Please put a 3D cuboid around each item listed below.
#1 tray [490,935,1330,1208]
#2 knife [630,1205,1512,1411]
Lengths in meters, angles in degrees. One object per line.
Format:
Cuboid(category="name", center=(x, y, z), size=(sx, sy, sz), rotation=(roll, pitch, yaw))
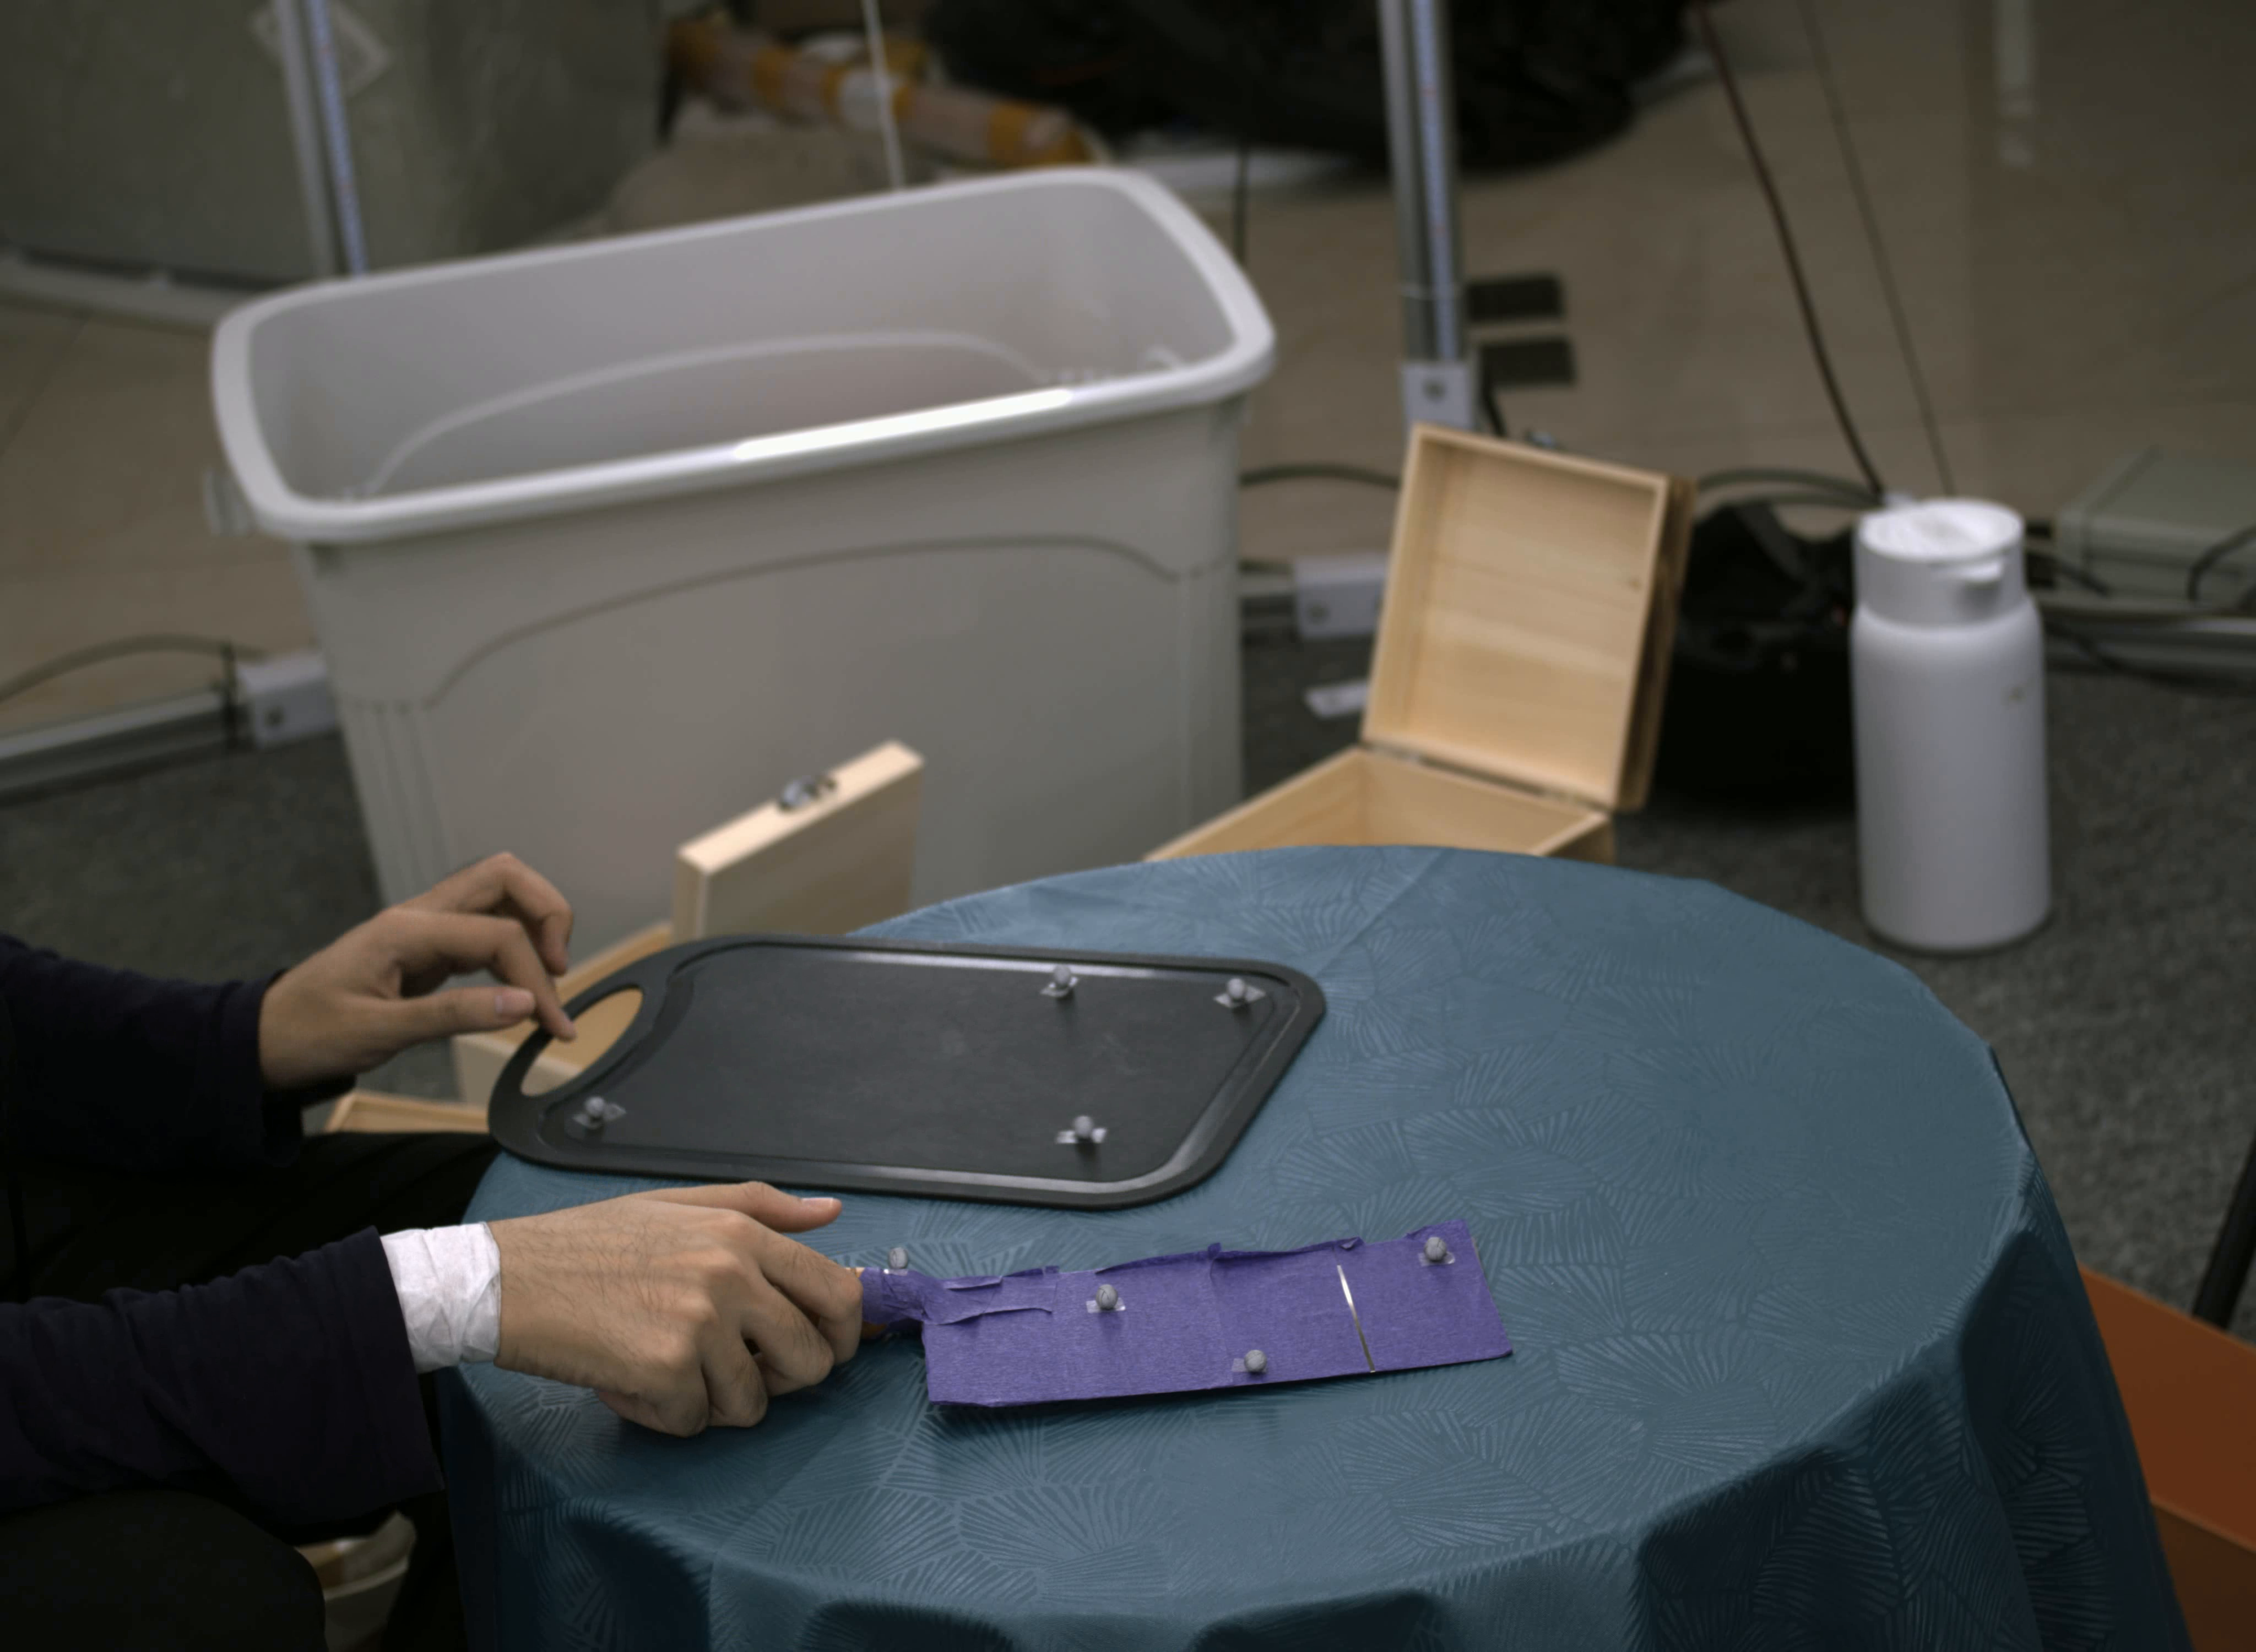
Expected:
Cuboid(category="tray", center=(-0.093, 0.094, 2.265), size=(0.324, 0.010, 0.208), rotation=(3, 26, 20))
Cuboid(category="knife", center=(-0.022, 0.178, 2.041), size=(0.315, 0.033, 0.102), rotation=(-7, 25, -3))
